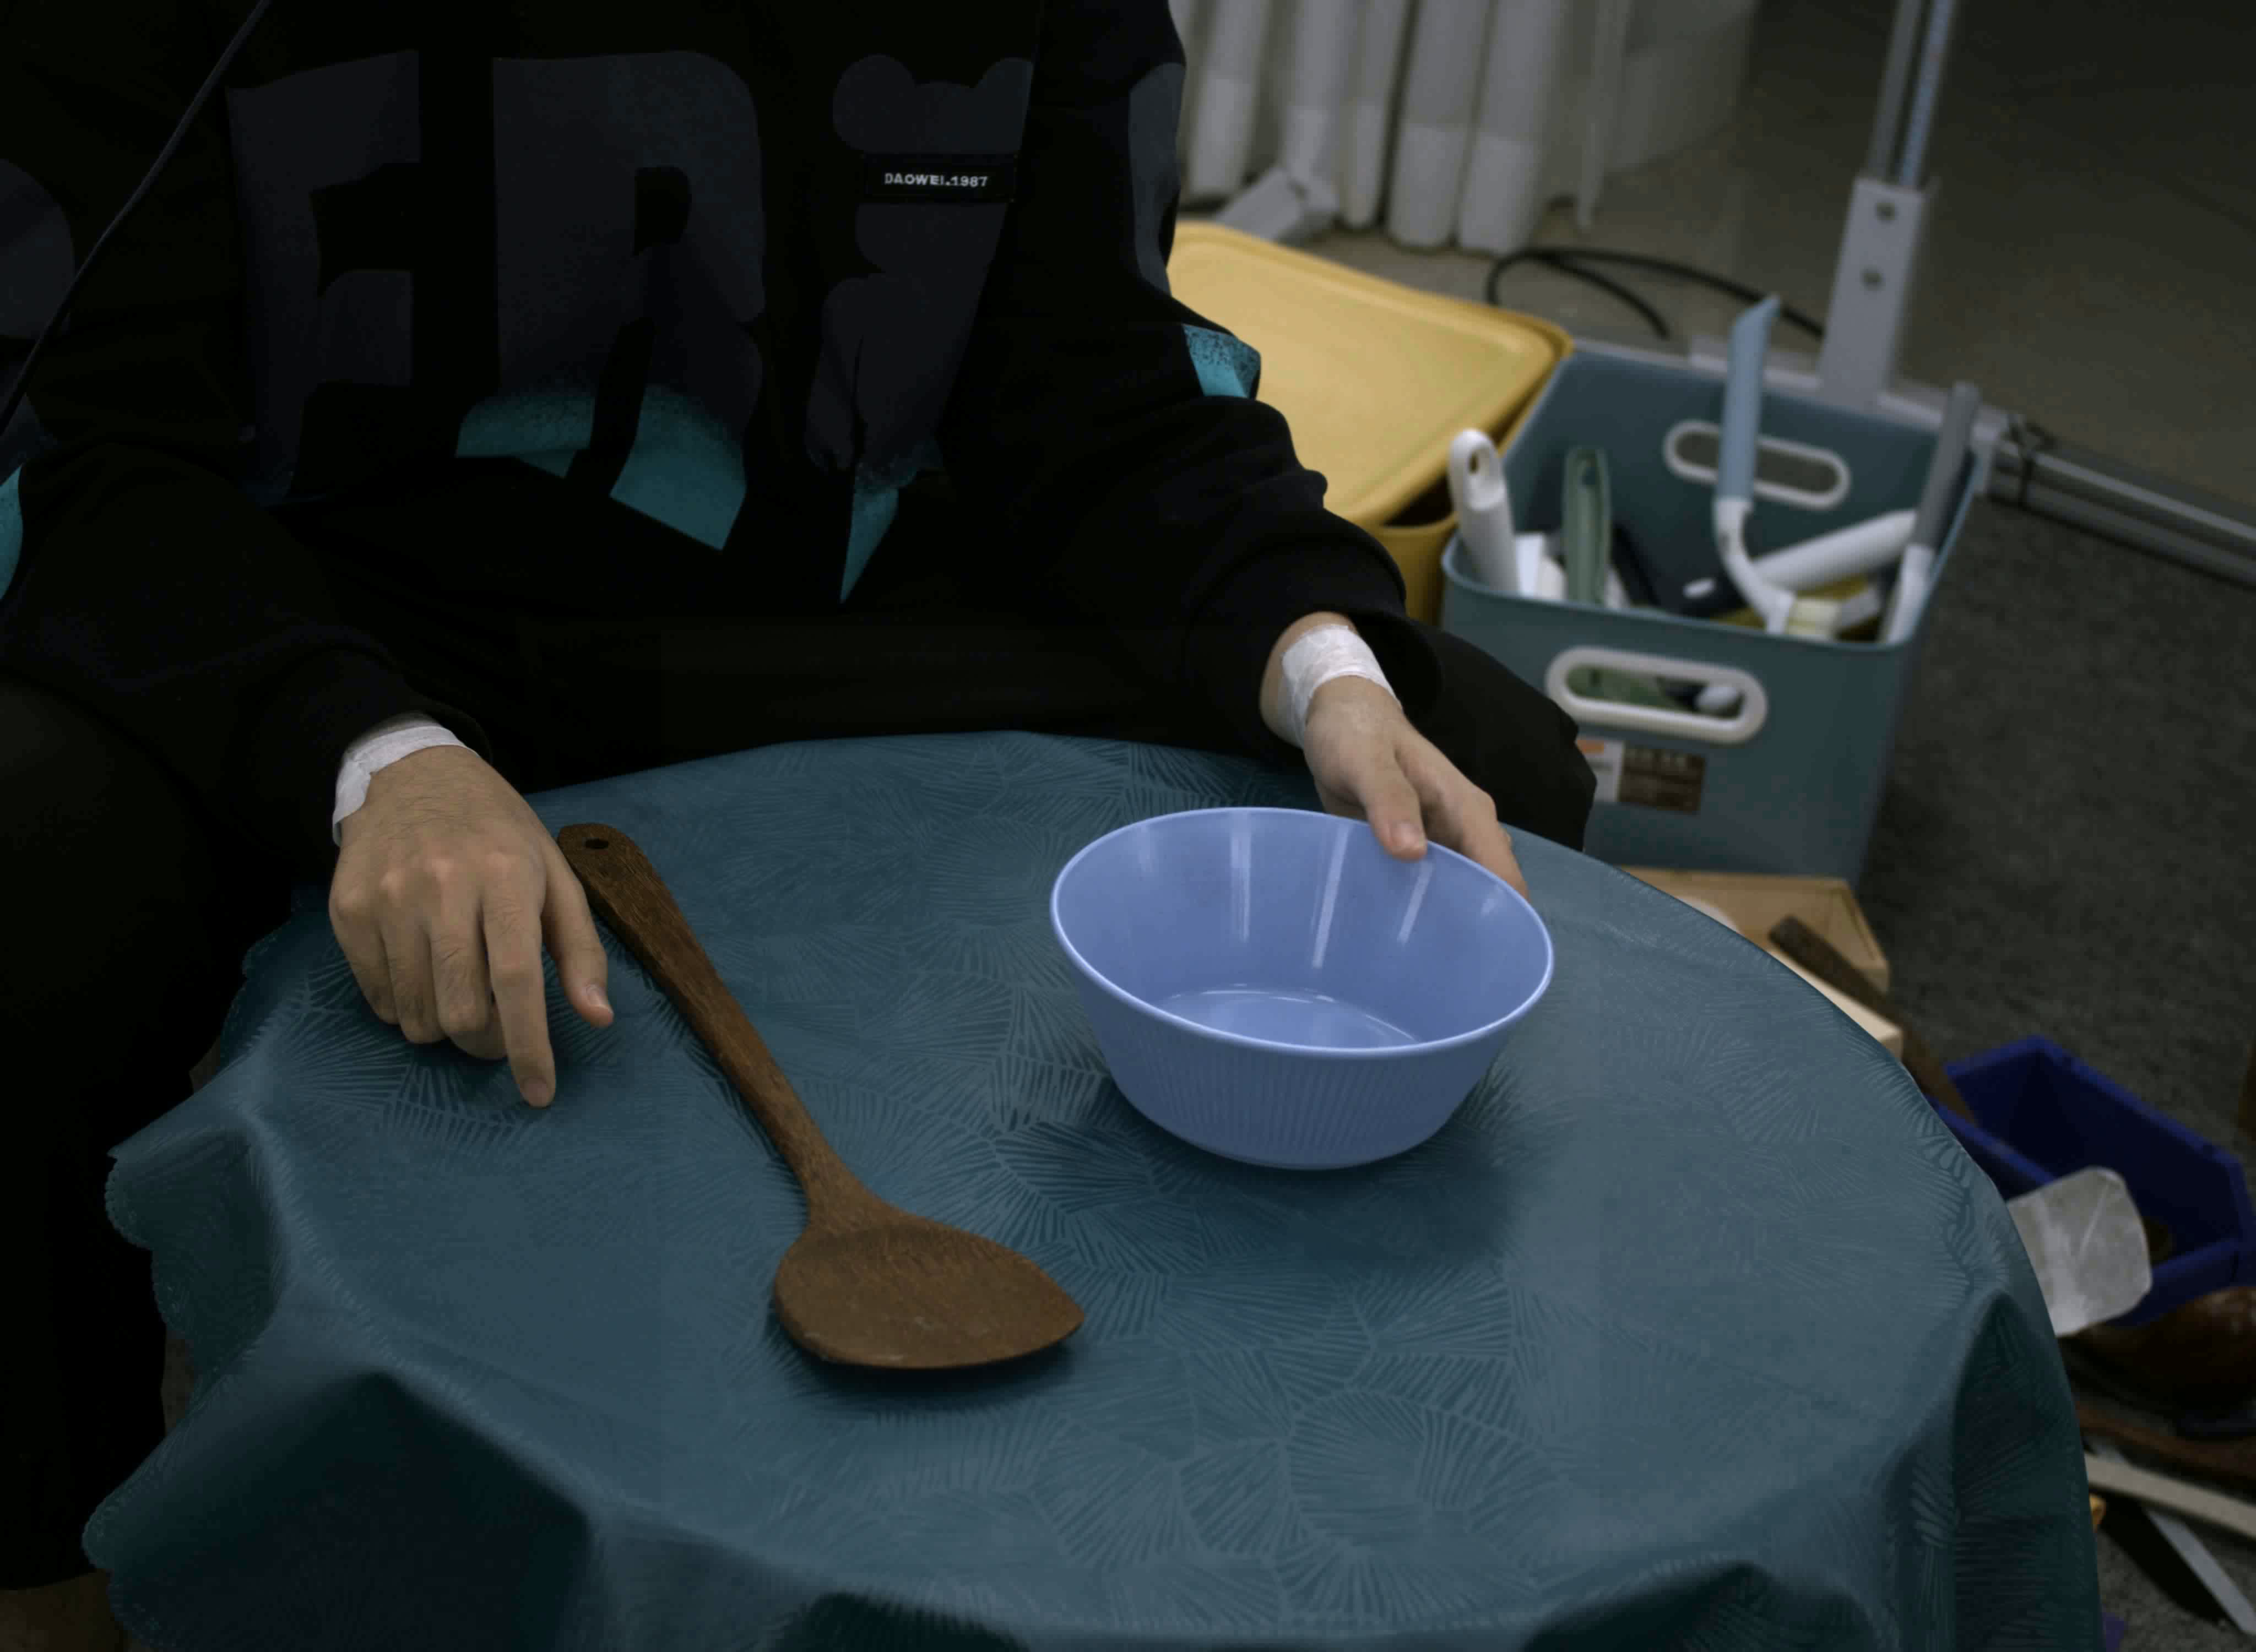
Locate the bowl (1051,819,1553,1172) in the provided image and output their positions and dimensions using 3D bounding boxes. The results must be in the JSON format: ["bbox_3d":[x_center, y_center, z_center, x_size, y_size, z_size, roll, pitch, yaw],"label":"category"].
[{"bbox_3d":[0.057,0.065,1.854,0.175,0.070,0.177,5,26,-3],"label":"bowl"}]

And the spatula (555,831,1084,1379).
[{"bbox_3d":[-0.127,0.087,1.829,0.095,0.016,0.389,-6,29,-24],"label":"spatula"}]
